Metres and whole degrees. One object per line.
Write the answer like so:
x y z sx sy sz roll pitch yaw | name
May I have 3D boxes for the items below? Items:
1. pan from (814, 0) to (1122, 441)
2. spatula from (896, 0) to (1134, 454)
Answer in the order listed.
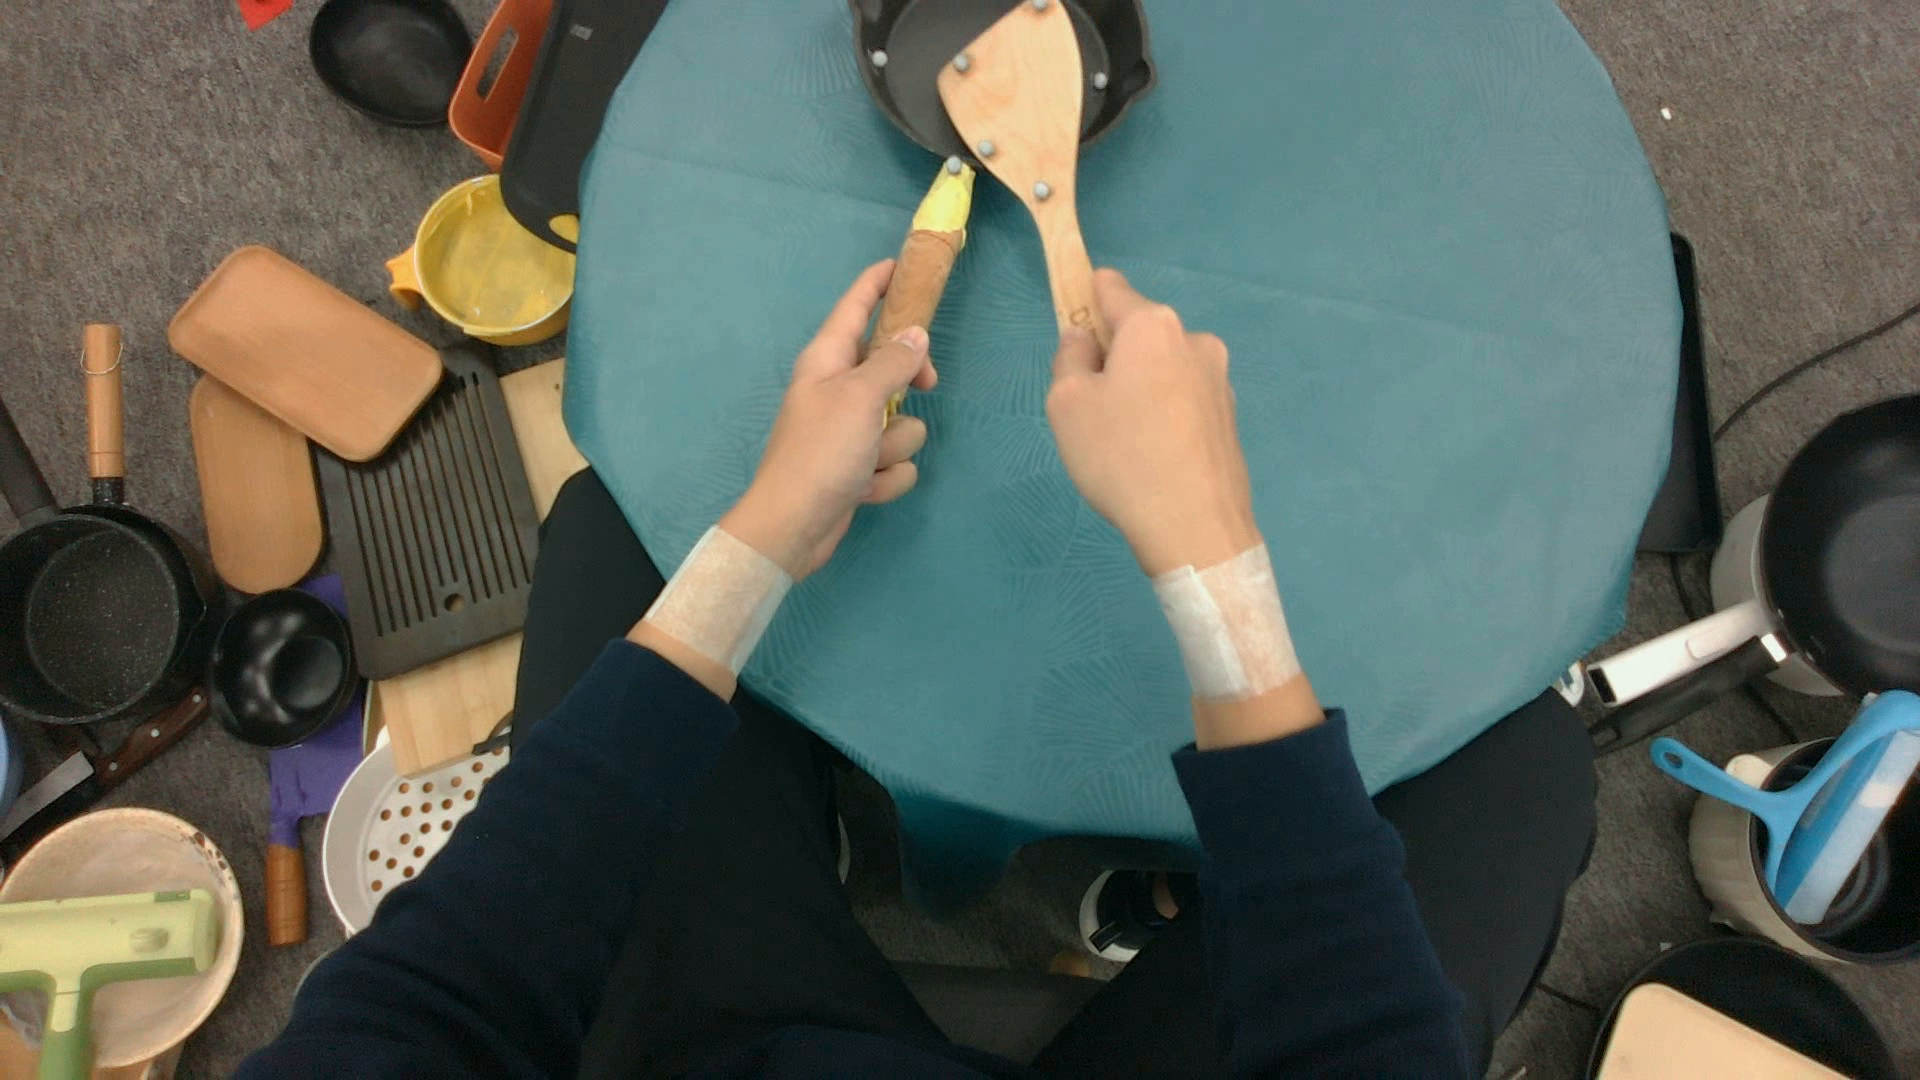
-0.020 -0.194 0.712 0.169 0.049 0.325 17 72 1 | pan
0.027 -0.162 0.652 0.080 0.016 0.329 -29 49 18 | spatula
